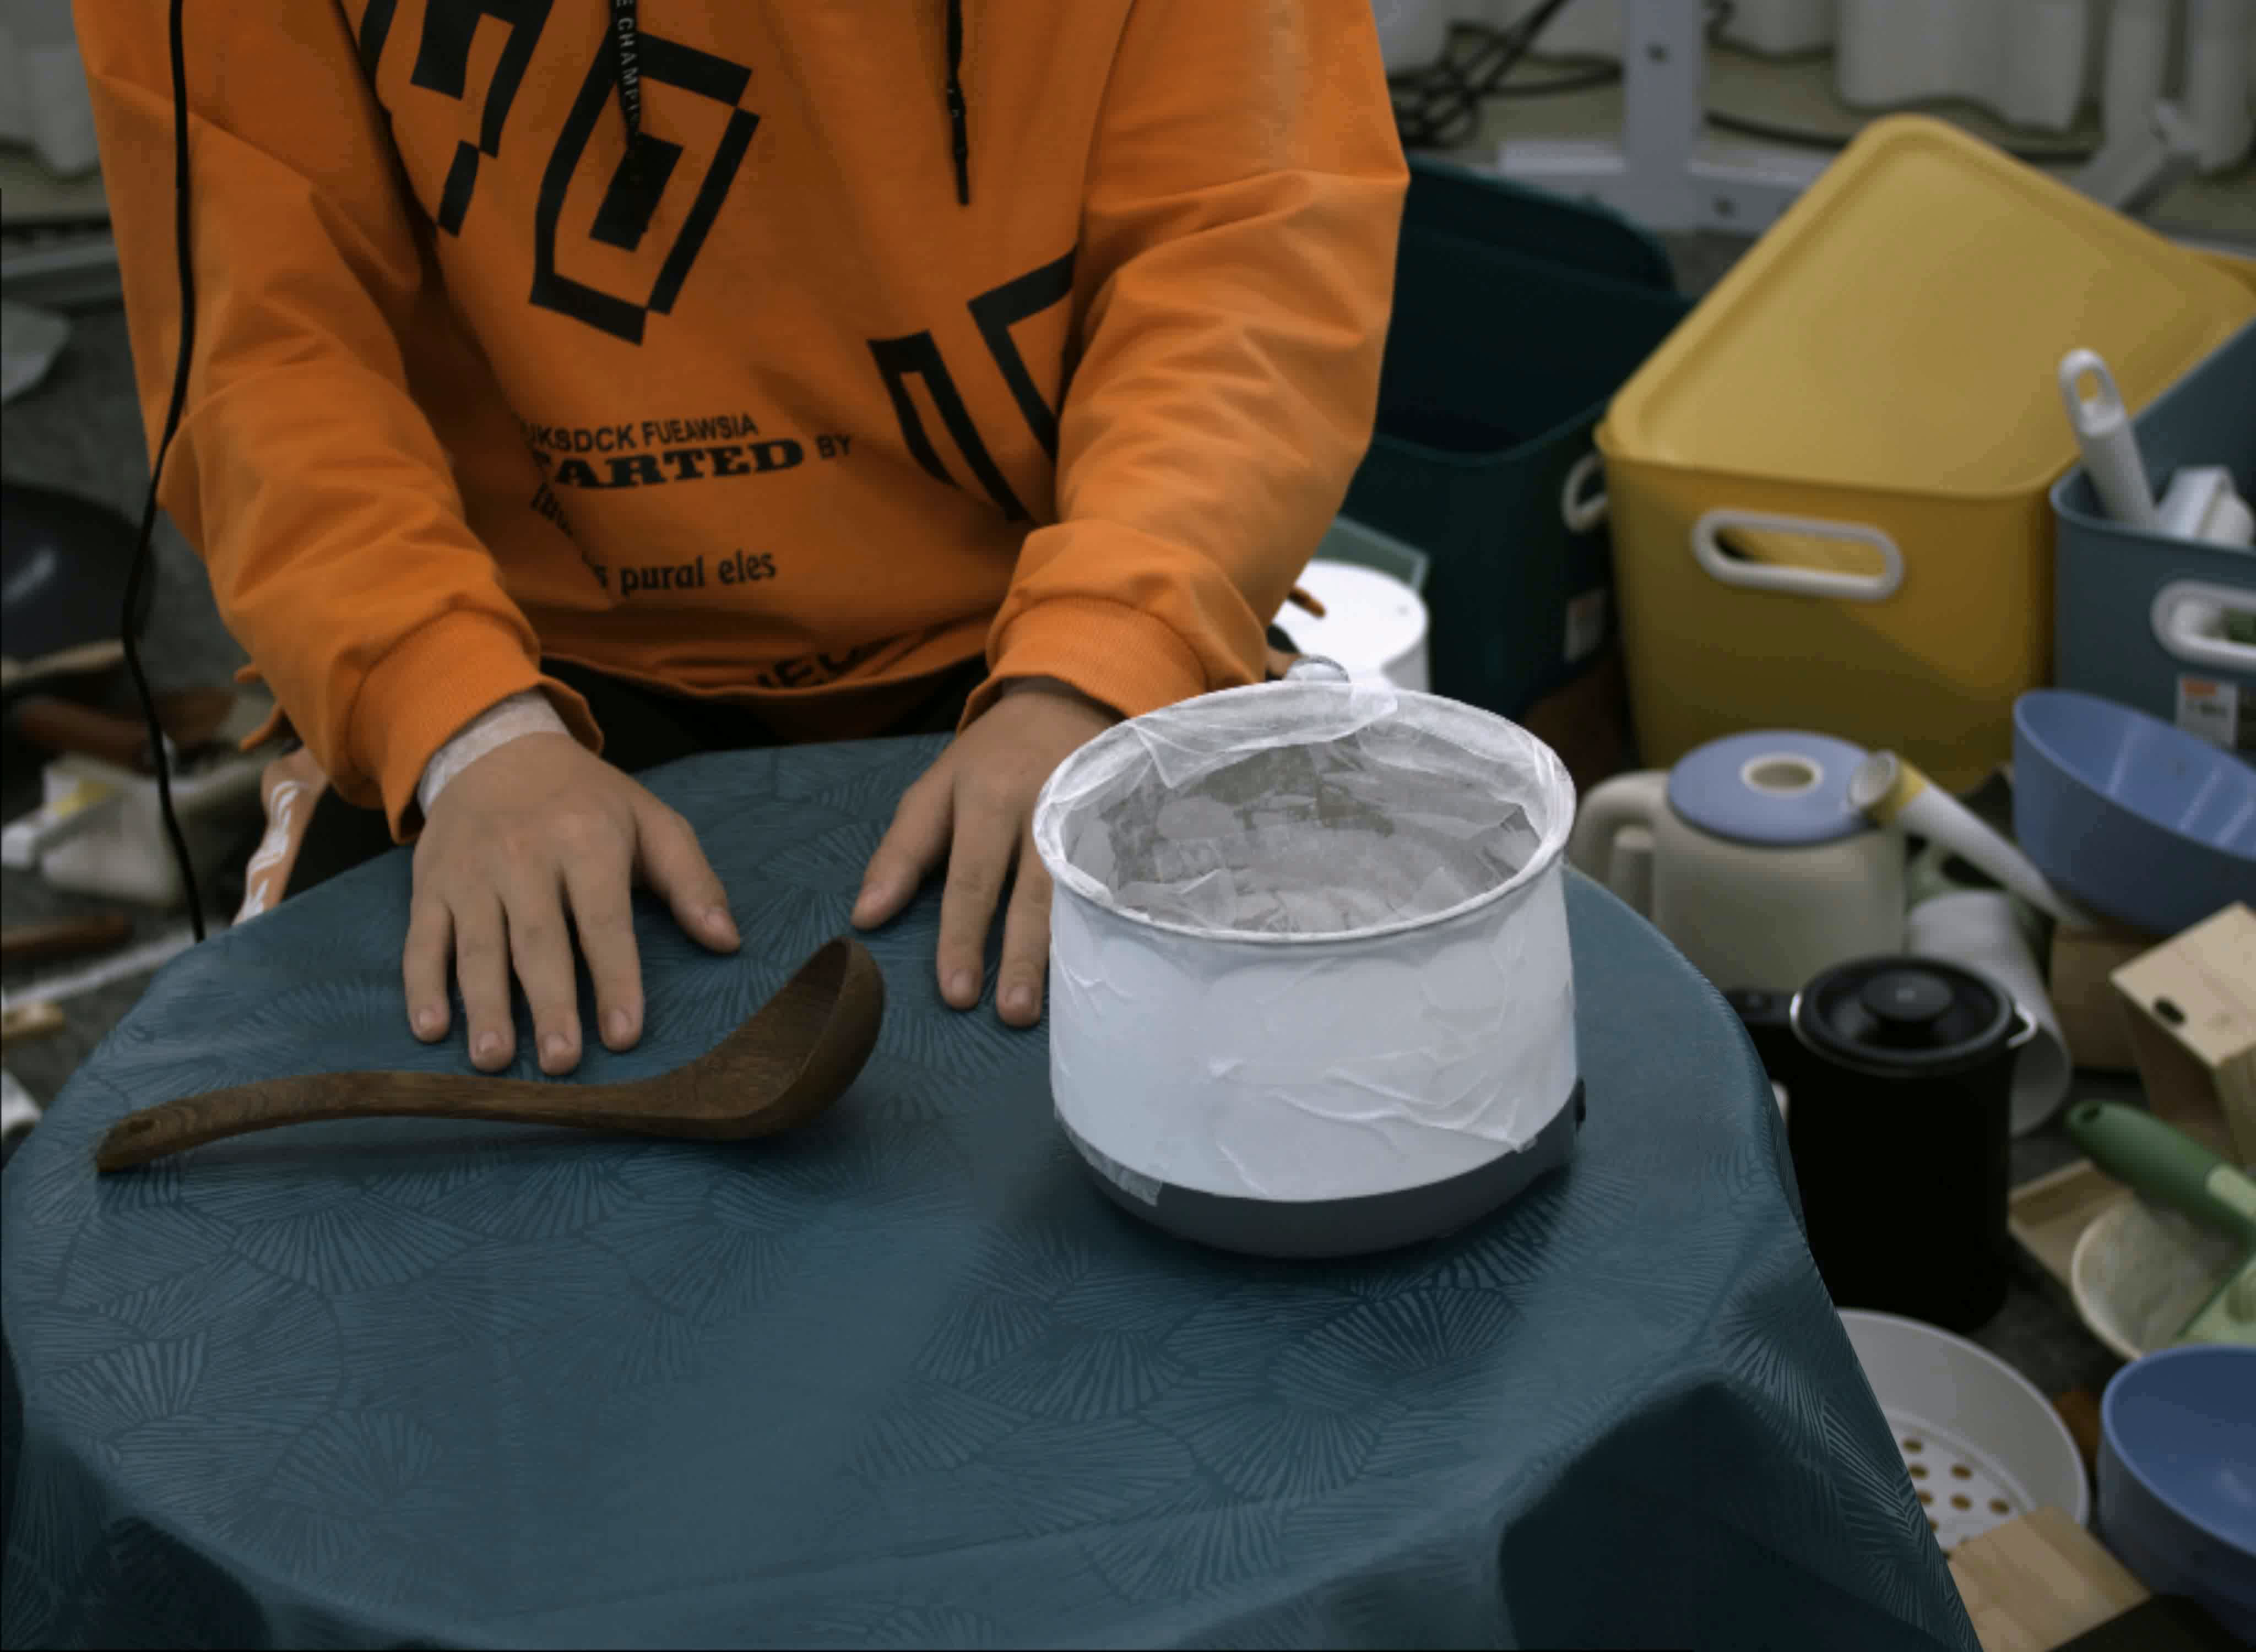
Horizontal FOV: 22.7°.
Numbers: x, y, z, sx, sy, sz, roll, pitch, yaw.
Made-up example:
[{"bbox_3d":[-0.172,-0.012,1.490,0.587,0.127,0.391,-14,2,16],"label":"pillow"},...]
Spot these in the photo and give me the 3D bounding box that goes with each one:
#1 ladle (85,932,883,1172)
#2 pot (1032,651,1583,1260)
[{"bbox_3d":[-0.218,0.077,1.894,0.273,0.070,0.077,-3,24,-1],"label":"ladle"},{"bbox_3d":[0.061,0.036,1.874,0.178,0.135,0.237,-1,28,3],"label":"pot"}]
